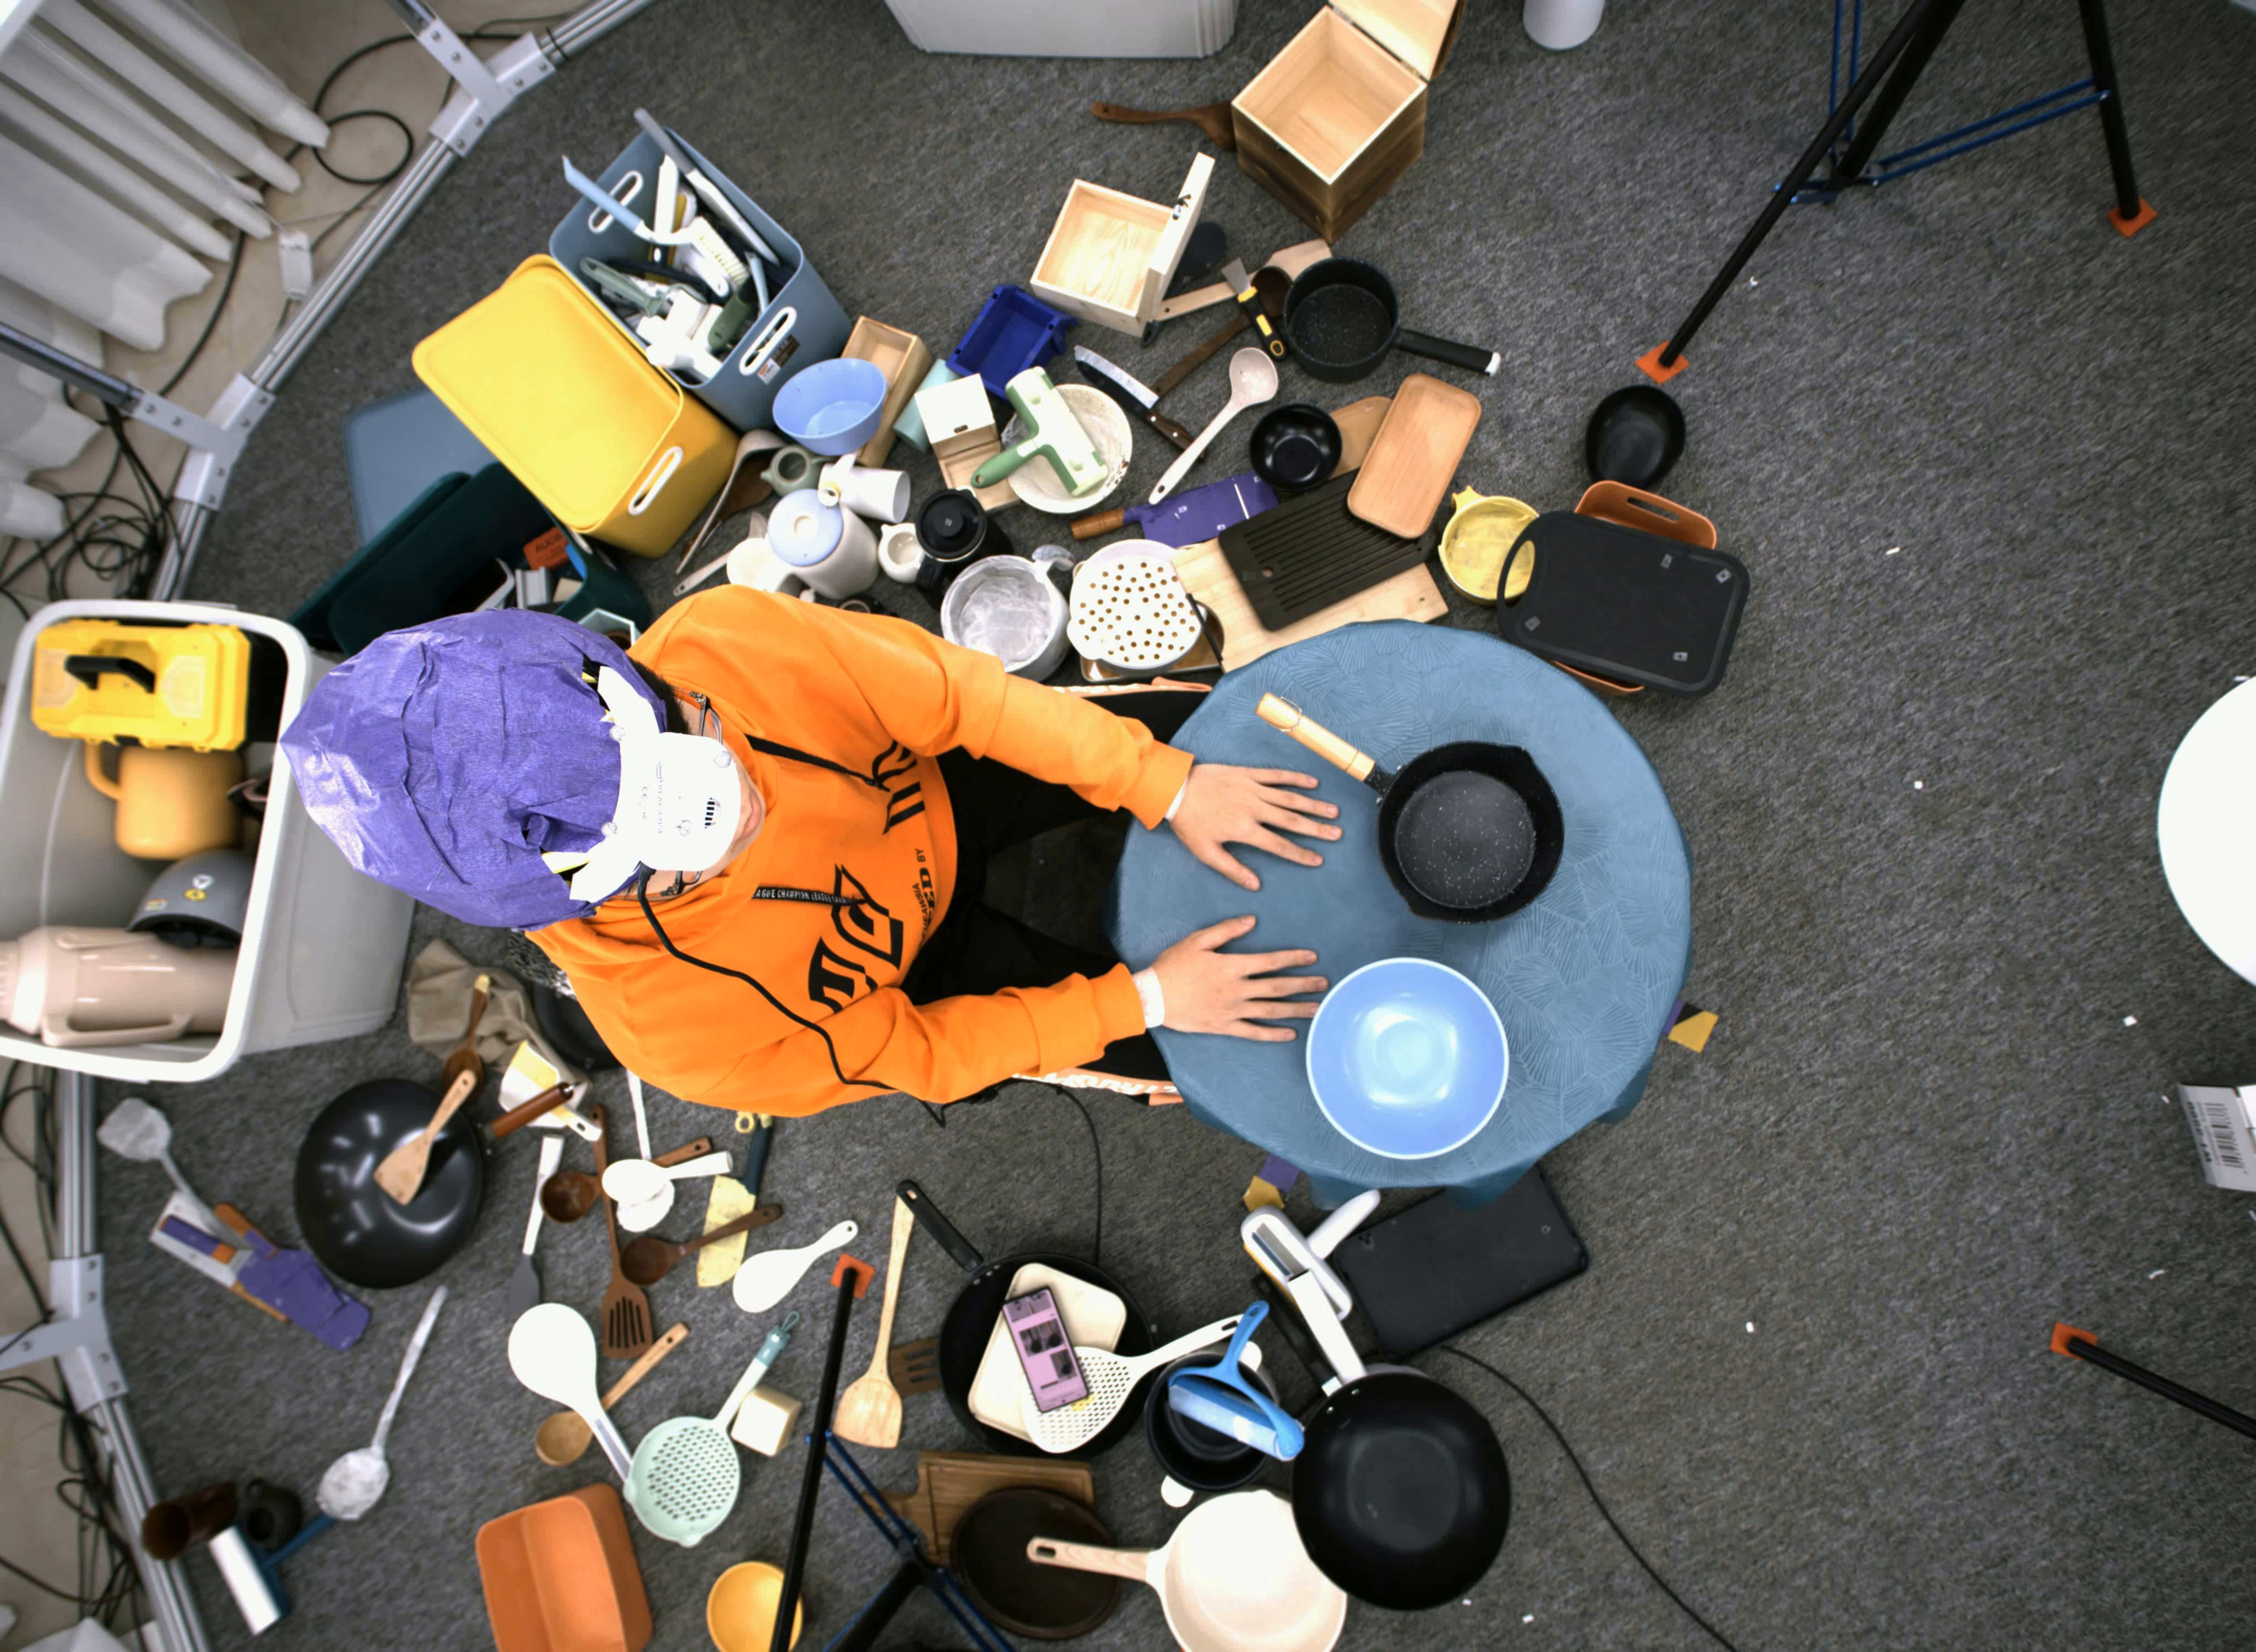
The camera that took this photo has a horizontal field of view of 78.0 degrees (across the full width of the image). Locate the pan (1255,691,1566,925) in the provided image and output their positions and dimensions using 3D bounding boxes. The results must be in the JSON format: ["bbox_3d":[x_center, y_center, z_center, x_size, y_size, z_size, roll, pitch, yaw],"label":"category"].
[{"bbox_3d":[0.278,-0.033,1.409,0.342,0.108,0.208,32,93,9],"label":"pan"}]

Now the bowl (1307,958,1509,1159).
[{"bbox_3d":[0.281,0.230,1.400,0.197,0.095,0.196,-1,87,10],"label":"bowl"}]
